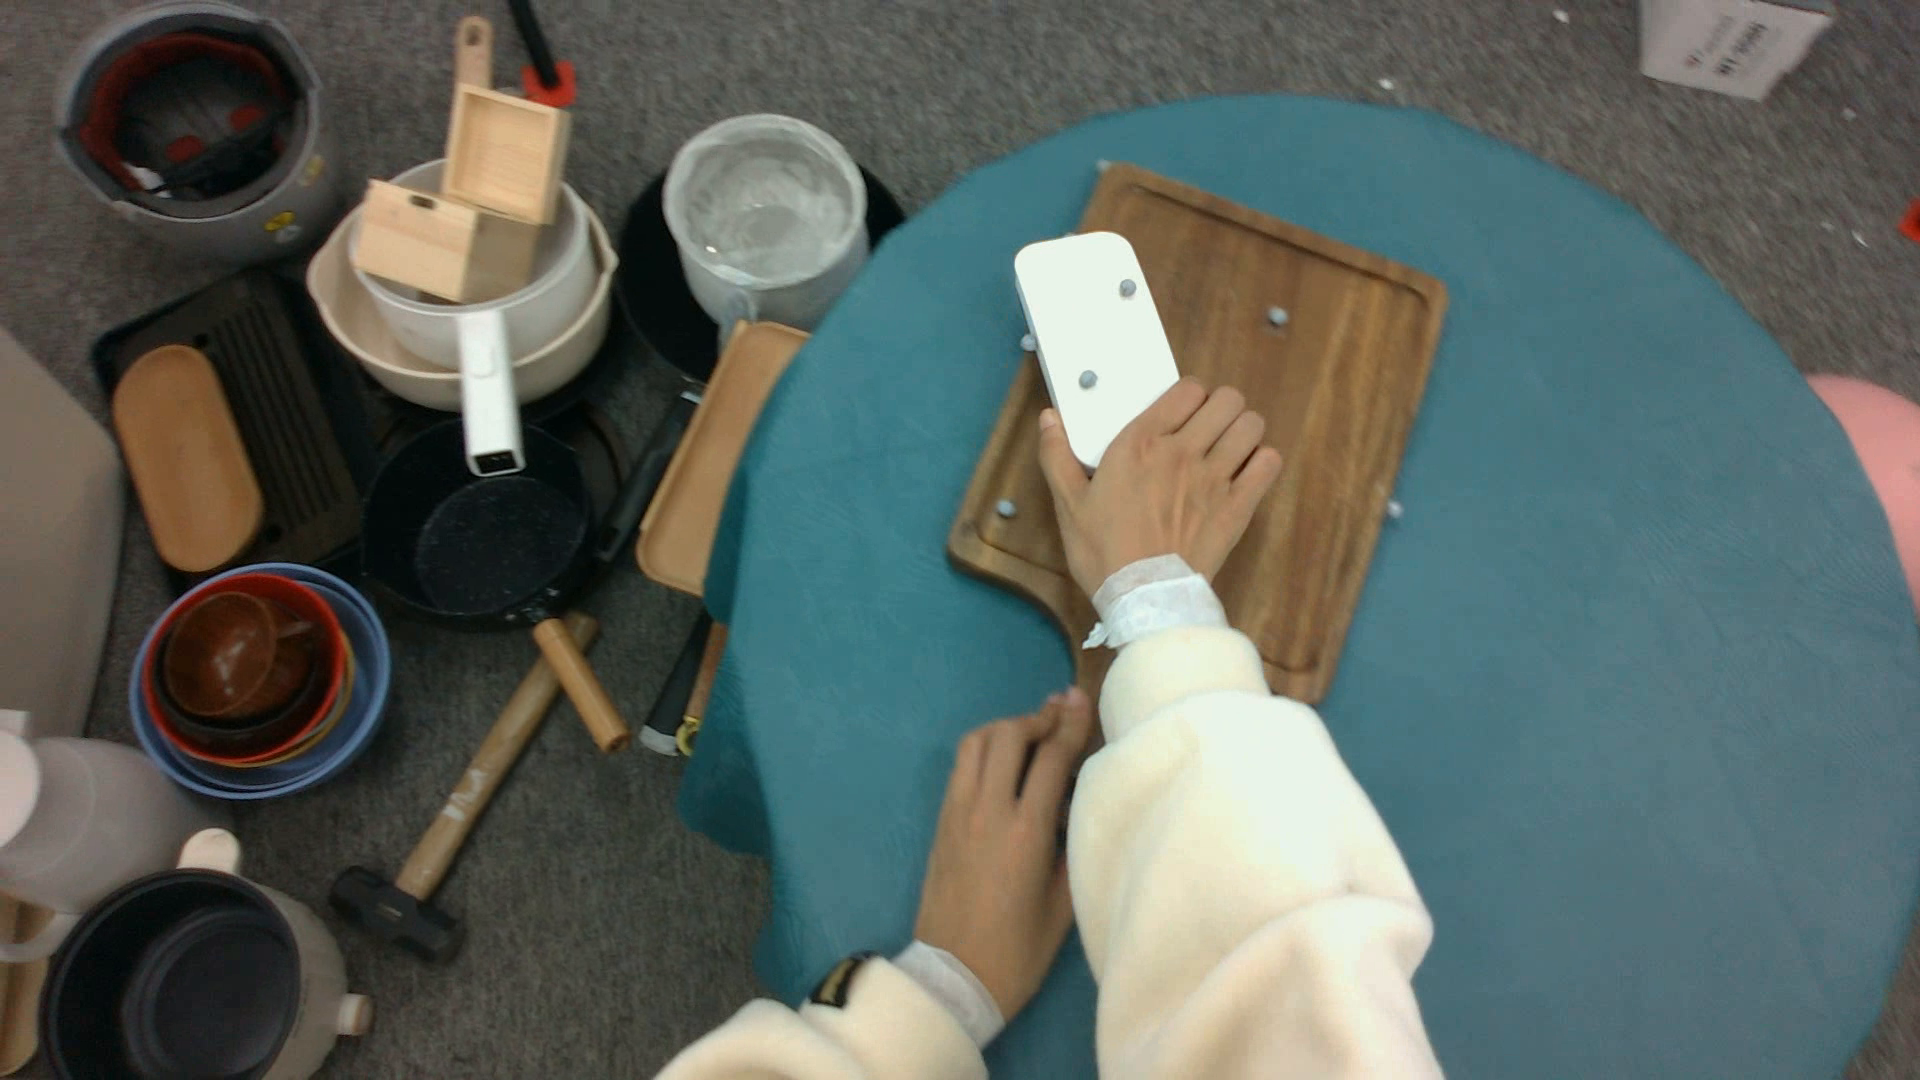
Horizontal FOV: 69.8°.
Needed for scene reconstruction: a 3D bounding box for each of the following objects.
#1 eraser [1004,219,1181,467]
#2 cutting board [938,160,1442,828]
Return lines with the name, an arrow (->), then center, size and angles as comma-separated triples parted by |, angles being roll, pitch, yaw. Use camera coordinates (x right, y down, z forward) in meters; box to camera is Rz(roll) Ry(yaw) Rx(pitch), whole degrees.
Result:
eraser -> 0.063, -0.099, 0.680 | 0.063, 0.034, 0.131 | -12, 65, -6
cutting board -> 0.105, -0.023, 0.691 | 0.201, 0.023, 0.353 | 22, 70, 5
